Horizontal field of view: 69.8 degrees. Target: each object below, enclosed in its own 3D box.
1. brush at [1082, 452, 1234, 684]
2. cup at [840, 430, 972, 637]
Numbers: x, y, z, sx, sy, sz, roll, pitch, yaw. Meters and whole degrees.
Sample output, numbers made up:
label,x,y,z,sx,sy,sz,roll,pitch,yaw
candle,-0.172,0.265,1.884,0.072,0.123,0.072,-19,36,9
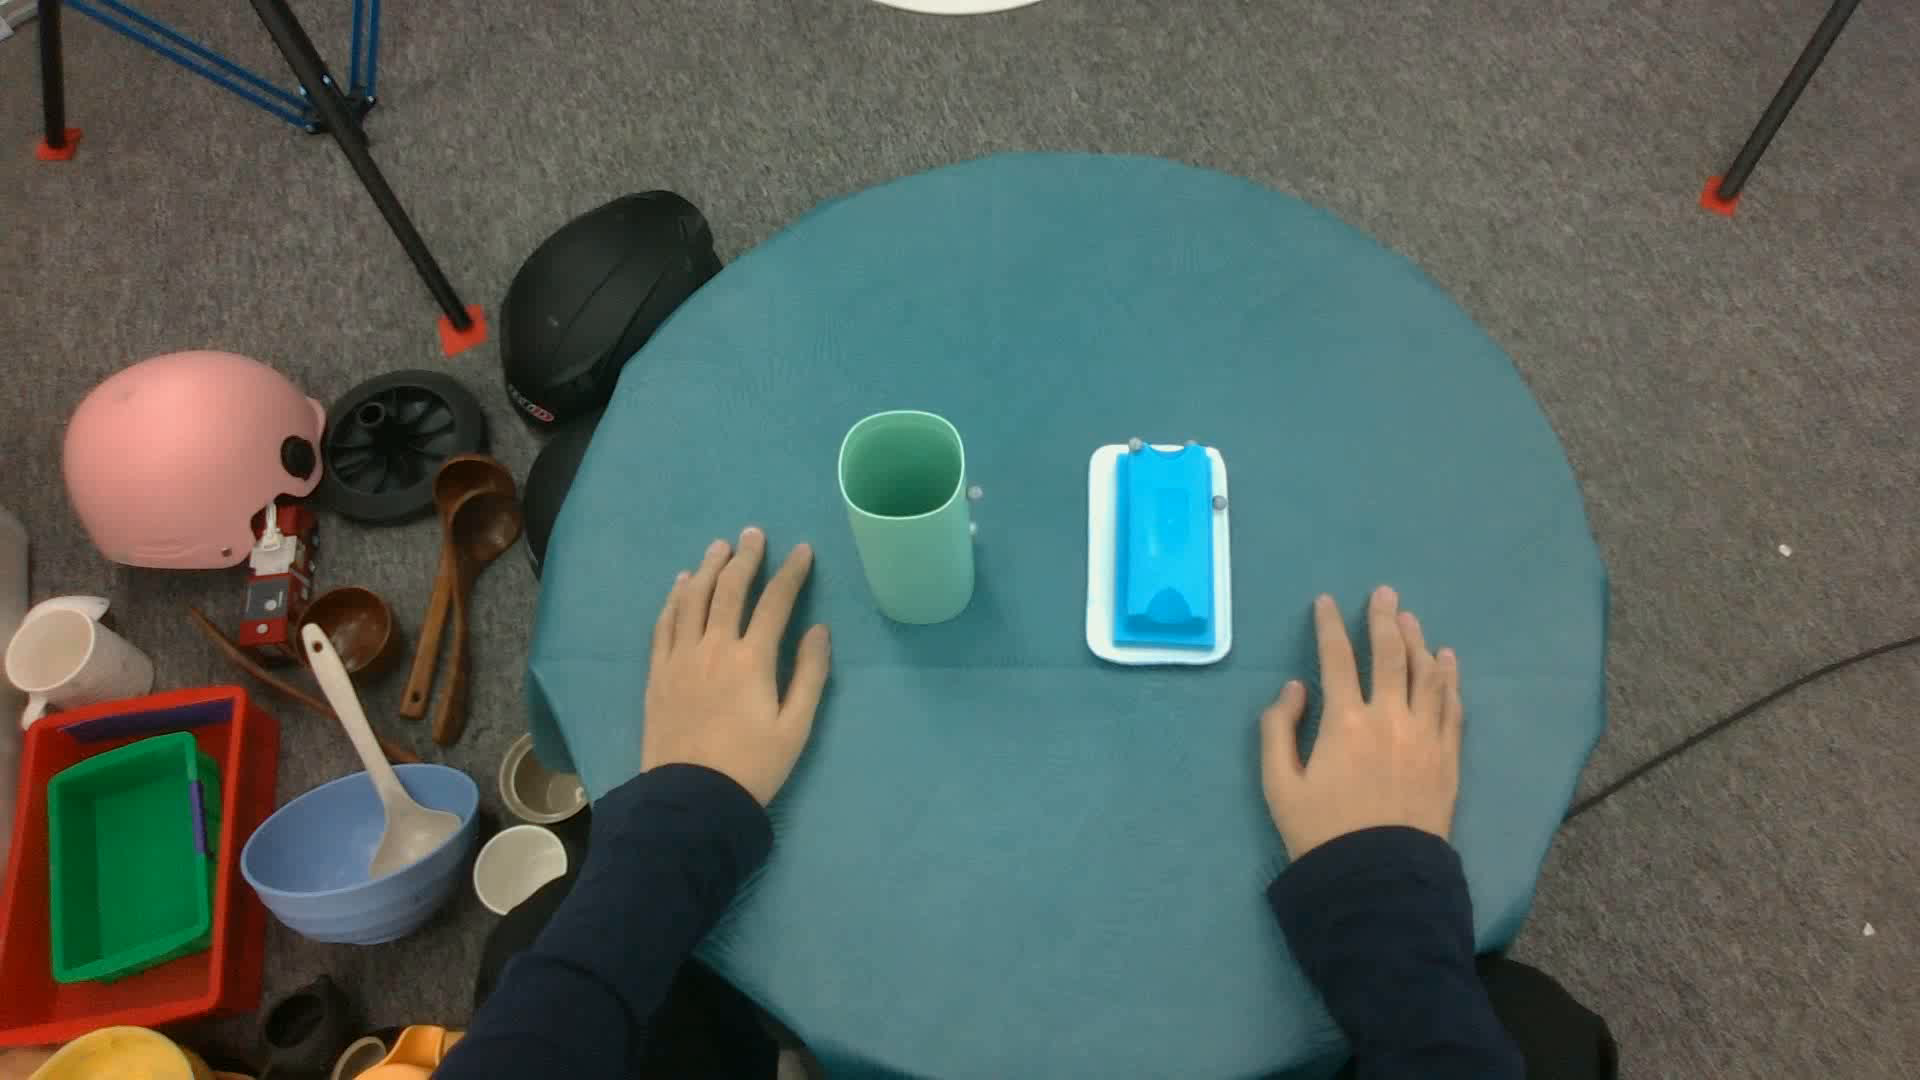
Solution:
label,x,y,z,sx,sy,sz,roll,pitch,yaw
brush,0.113,0.008,0.772,0.084,0.056,0.144,3,60,8
cup,-0.026,0.001,0.751,0.067,0.132,0.067,-1,63,2
